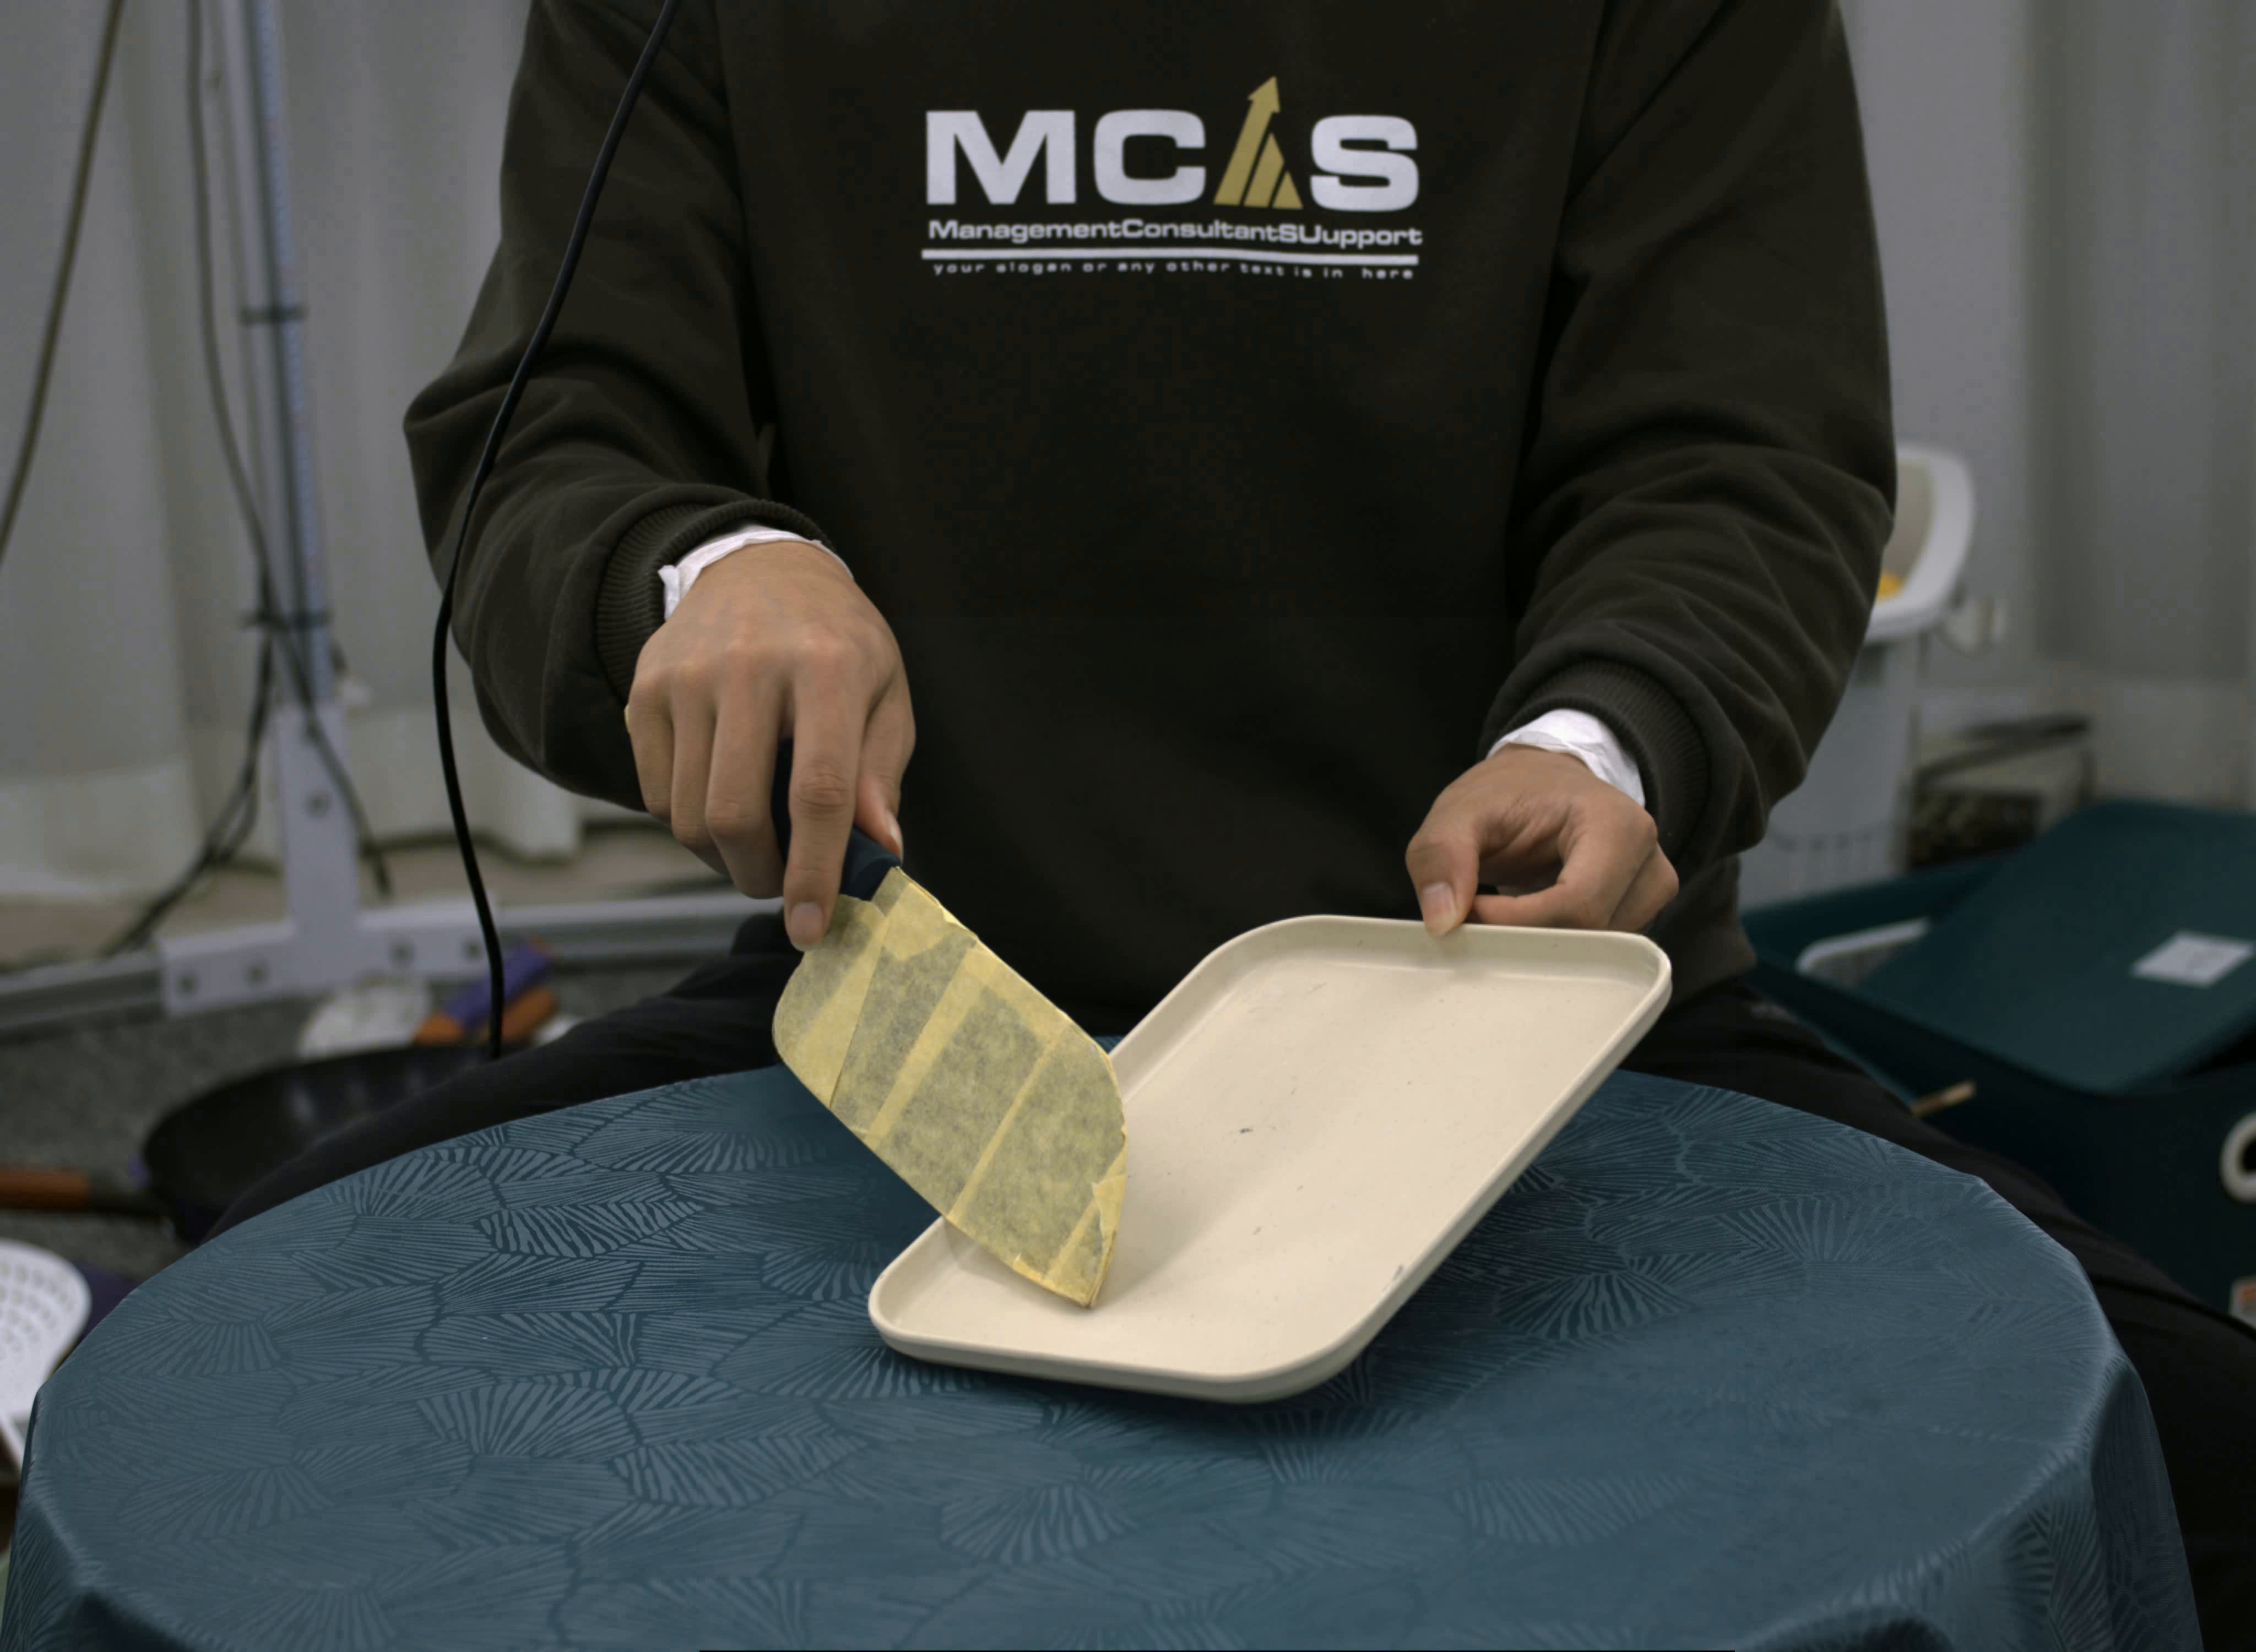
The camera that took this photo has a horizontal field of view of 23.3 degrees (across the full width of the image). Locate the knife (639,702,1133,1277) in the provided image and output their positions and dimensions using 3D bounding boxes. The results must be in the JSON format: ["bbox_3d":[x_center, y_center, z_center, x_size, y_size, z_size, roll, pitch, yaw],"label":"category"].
[{"bbox_3d":[-0.080,0.046,1.671,0.027,0.081,0.293,25,14,-45],"label":"knife"}]

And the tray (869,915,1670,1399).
[{"bbox_3d":[0.045,0.096,1.616,0.172,0.017,0.241,2,31,37],"label":"tray"}]
